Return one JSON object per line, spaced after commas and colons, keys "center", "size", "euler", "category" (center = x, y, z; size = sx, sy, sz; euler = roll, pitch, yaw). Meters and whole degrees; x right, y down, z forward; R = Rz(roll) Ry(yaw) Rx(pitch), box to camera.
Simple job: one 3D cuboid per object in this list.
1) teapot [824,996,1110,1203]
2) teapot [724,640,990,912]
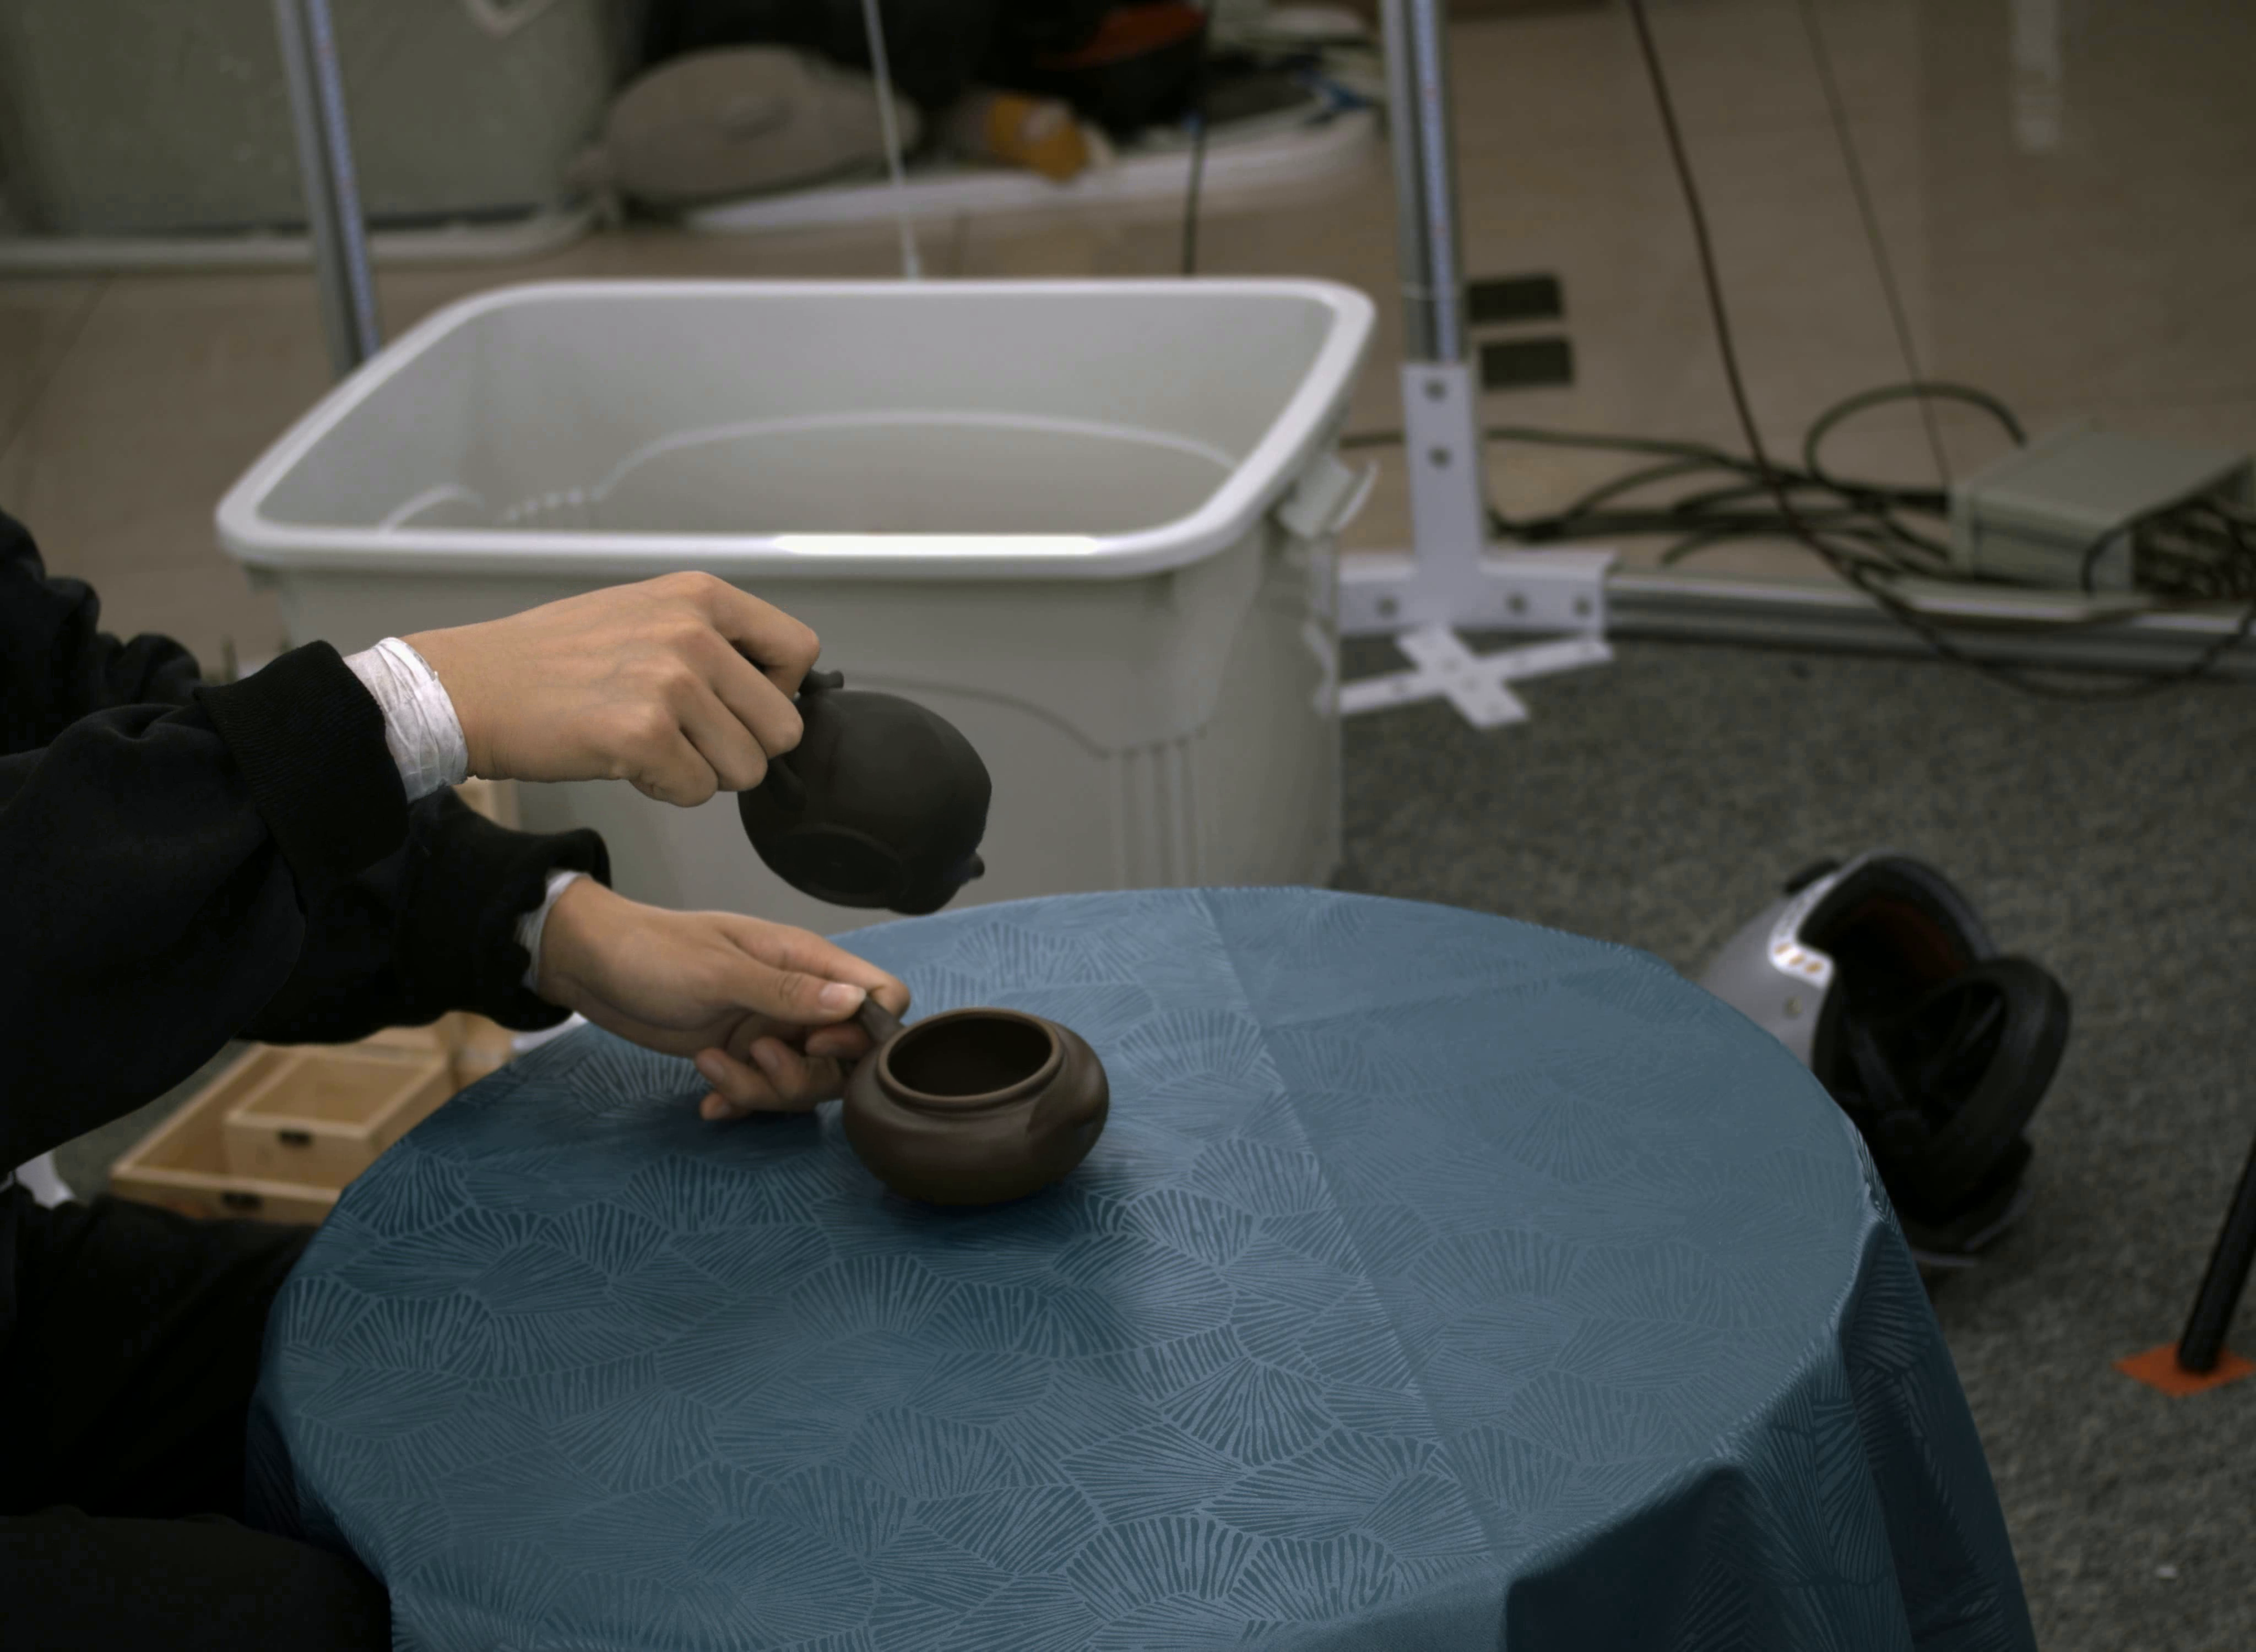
{"center": [-0.062, 0.104, 2.170], "size": [0.152, 0.055, 0.101], "euler": [20, 36, 37], "category": "teapot"}
{"center": [-0.098, -0.013, 2.043], "size": [0.092, 0.156, 0.063], "euler": [-11, 50, 32], "category": "teapot"}
